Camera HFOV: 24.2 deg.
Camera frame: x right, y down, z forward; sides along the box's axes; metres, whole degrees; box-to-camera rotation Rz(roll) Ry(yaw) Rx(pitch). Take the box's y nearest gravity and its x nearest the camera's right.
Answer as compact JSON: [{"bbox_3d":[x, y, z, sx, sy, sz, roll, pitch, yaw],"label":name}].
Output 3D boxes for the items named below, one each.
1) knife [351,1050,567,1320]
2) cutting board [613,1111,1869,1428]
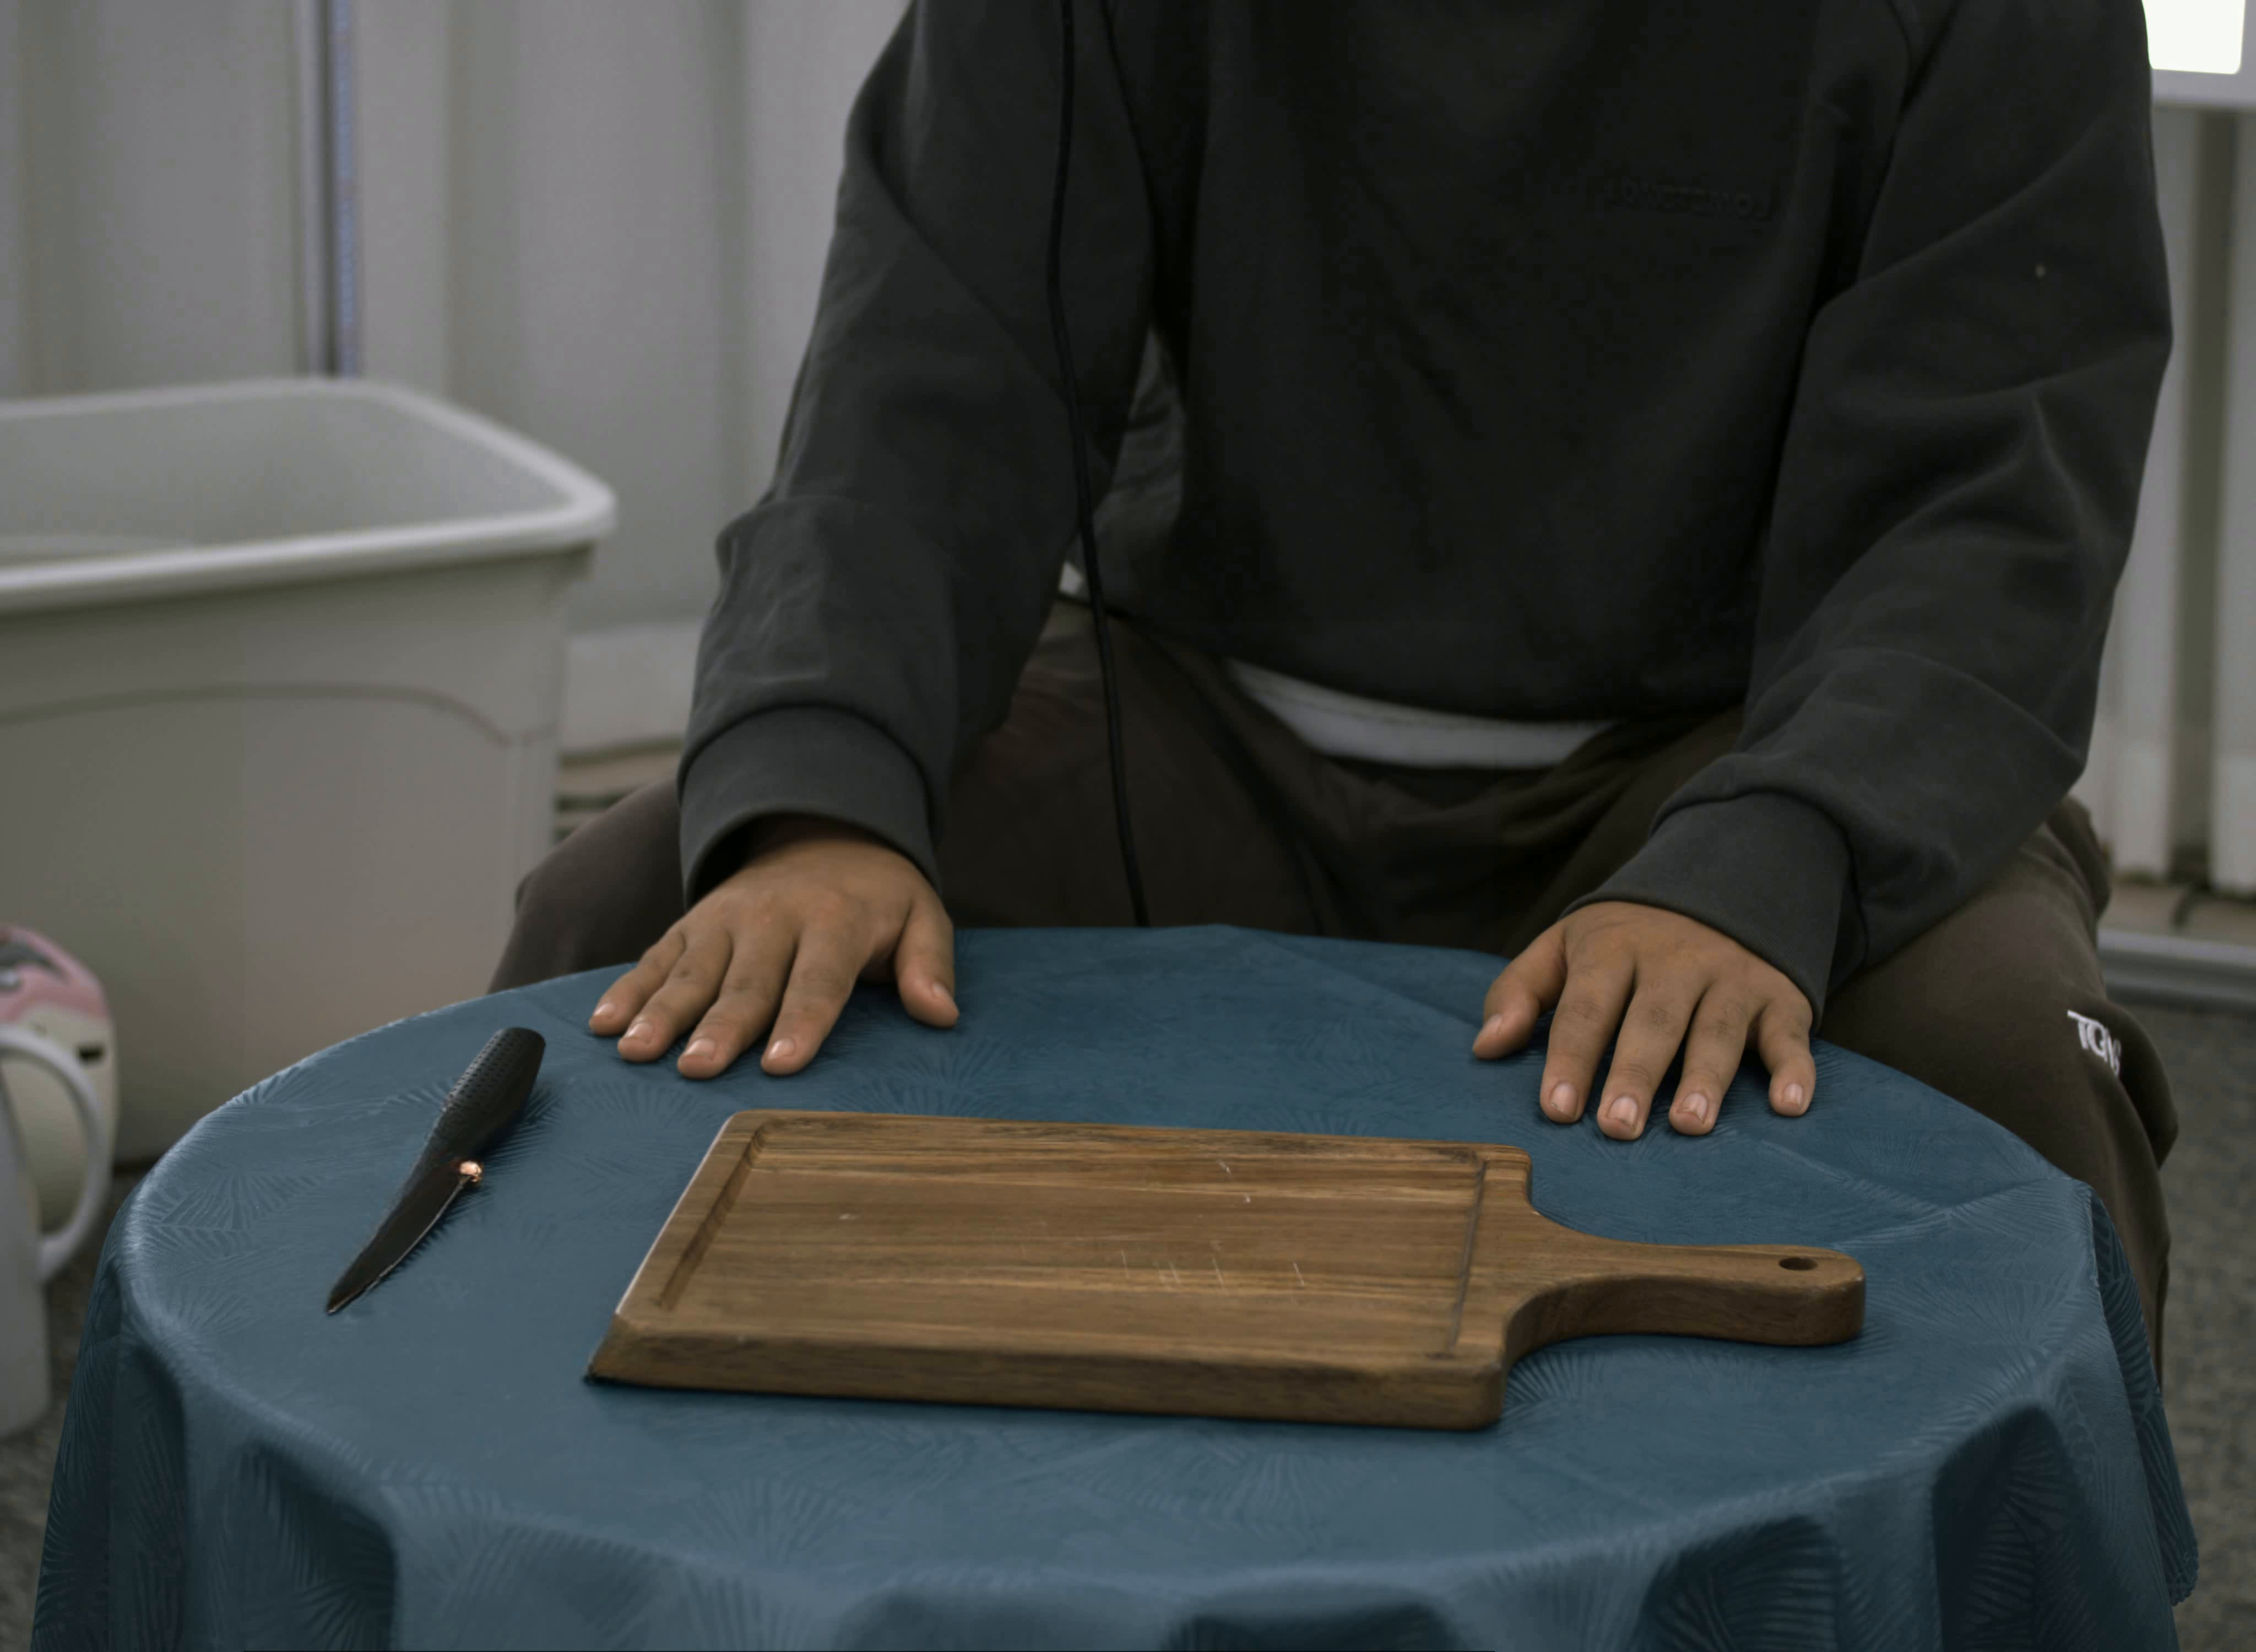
[{"bbox_3d":[-0.208,0.108,1.612,0.026,0.017,0.225,9,17,7],"label":"knife"},{"bbox_3d":[0.039,0.128,1.532,0.350,0.023,0.200,2,16,5],"label":"cutting board"}]
